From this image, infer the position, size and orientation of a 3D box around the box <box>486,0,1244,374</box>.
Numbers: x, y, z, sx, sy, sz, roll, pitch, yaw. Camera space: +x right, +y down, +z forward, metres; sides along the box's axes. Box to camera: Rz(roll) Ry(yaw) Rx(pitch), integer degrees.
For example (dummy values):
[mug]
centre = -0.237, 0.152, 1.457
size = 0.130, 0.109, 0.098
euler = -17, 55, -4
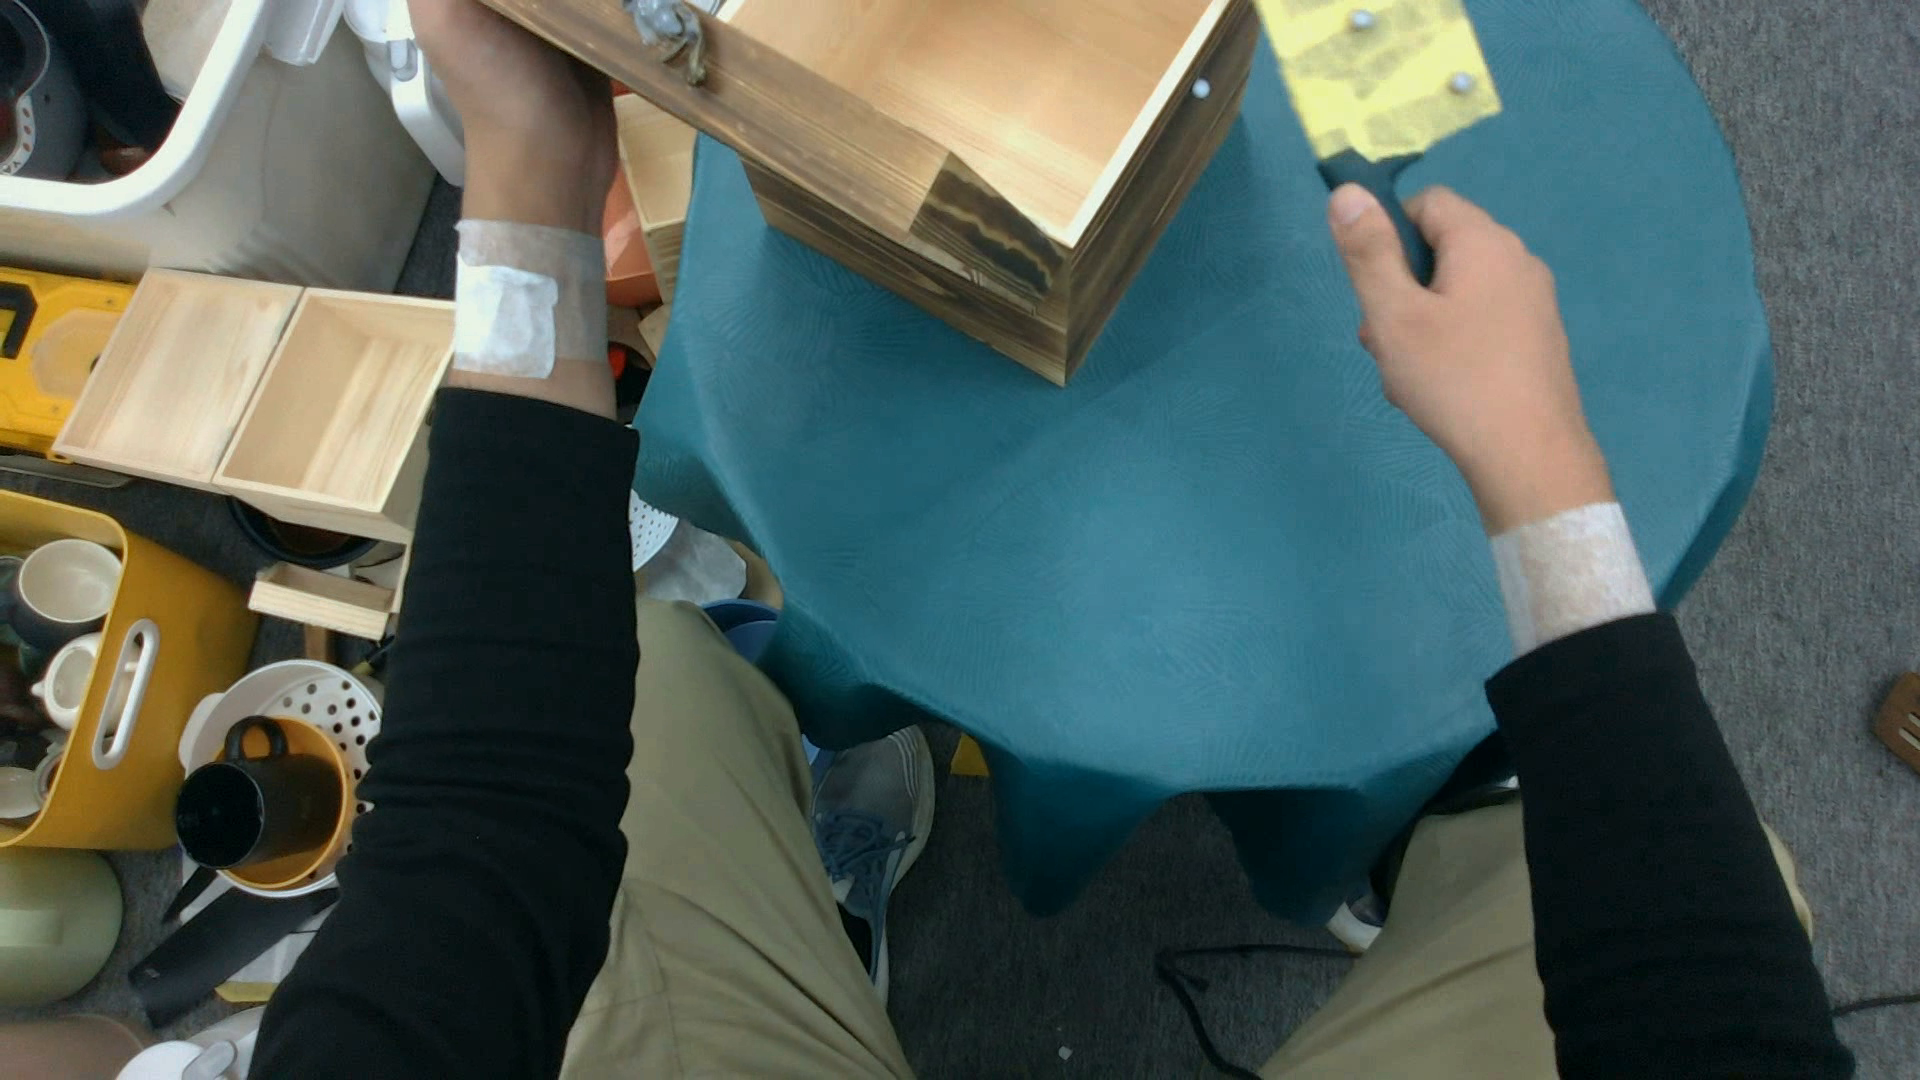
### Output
[box]
centre = -0.017, -0.222, 0.615
size = 0.209, 0.374, 0.323
euler = 30, 79, 9

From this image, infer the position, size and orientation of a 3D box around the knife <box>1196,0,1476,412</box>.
[knife]
centre = 0.161, -0.192, 0.586
size = 0.081, 0.027, 0.289
euler = -24, 90, 24
